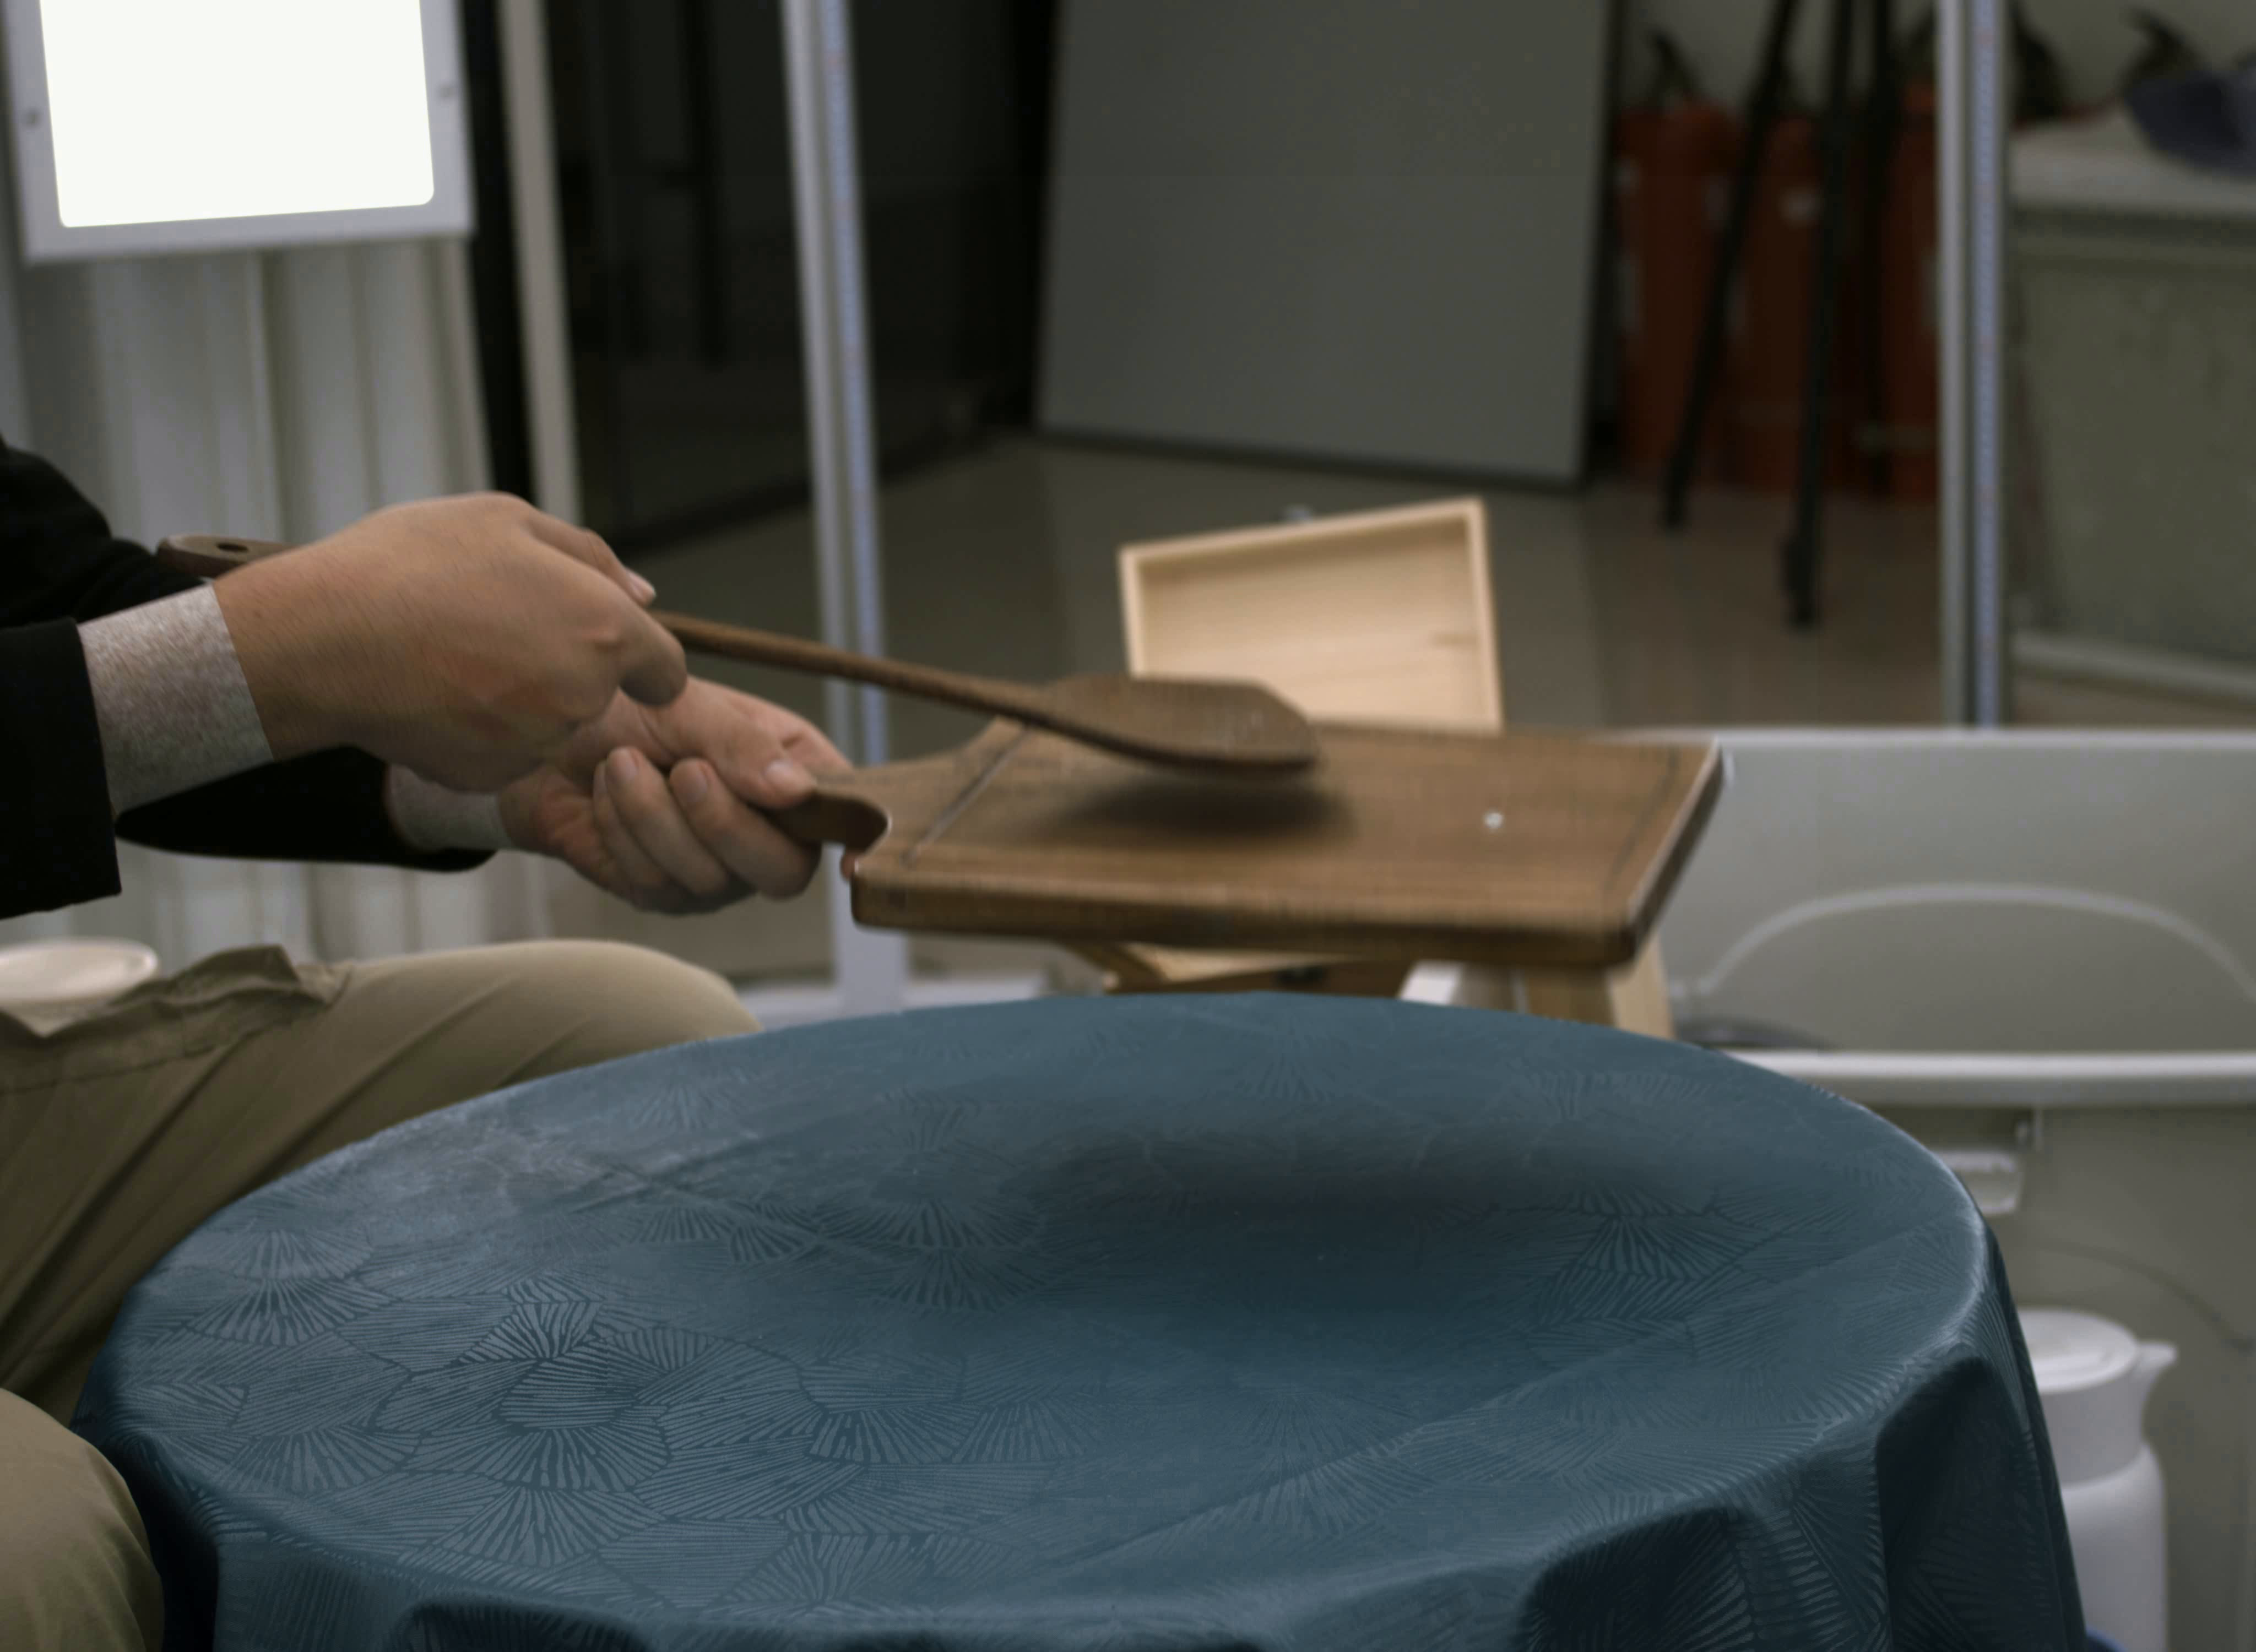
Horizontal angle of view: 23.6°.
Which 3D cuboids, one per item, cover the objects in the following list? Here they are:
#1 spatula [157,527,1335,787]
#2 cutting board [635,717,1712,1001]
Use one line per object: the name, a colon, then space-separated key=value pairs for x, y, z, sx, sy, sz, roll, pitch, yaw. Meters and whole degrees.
spatula: x=-0.116 y=-0.054 z=1.711 sx=0.378 sy=0.016 sz=0.097 roll=11 pitch=14 yaw=-16
cutting board: x=0.007 y=0.004 z=1.750 sx=0.350 sy=0.023 sz=0.199 roll=4 pitch=18 yaw=15
